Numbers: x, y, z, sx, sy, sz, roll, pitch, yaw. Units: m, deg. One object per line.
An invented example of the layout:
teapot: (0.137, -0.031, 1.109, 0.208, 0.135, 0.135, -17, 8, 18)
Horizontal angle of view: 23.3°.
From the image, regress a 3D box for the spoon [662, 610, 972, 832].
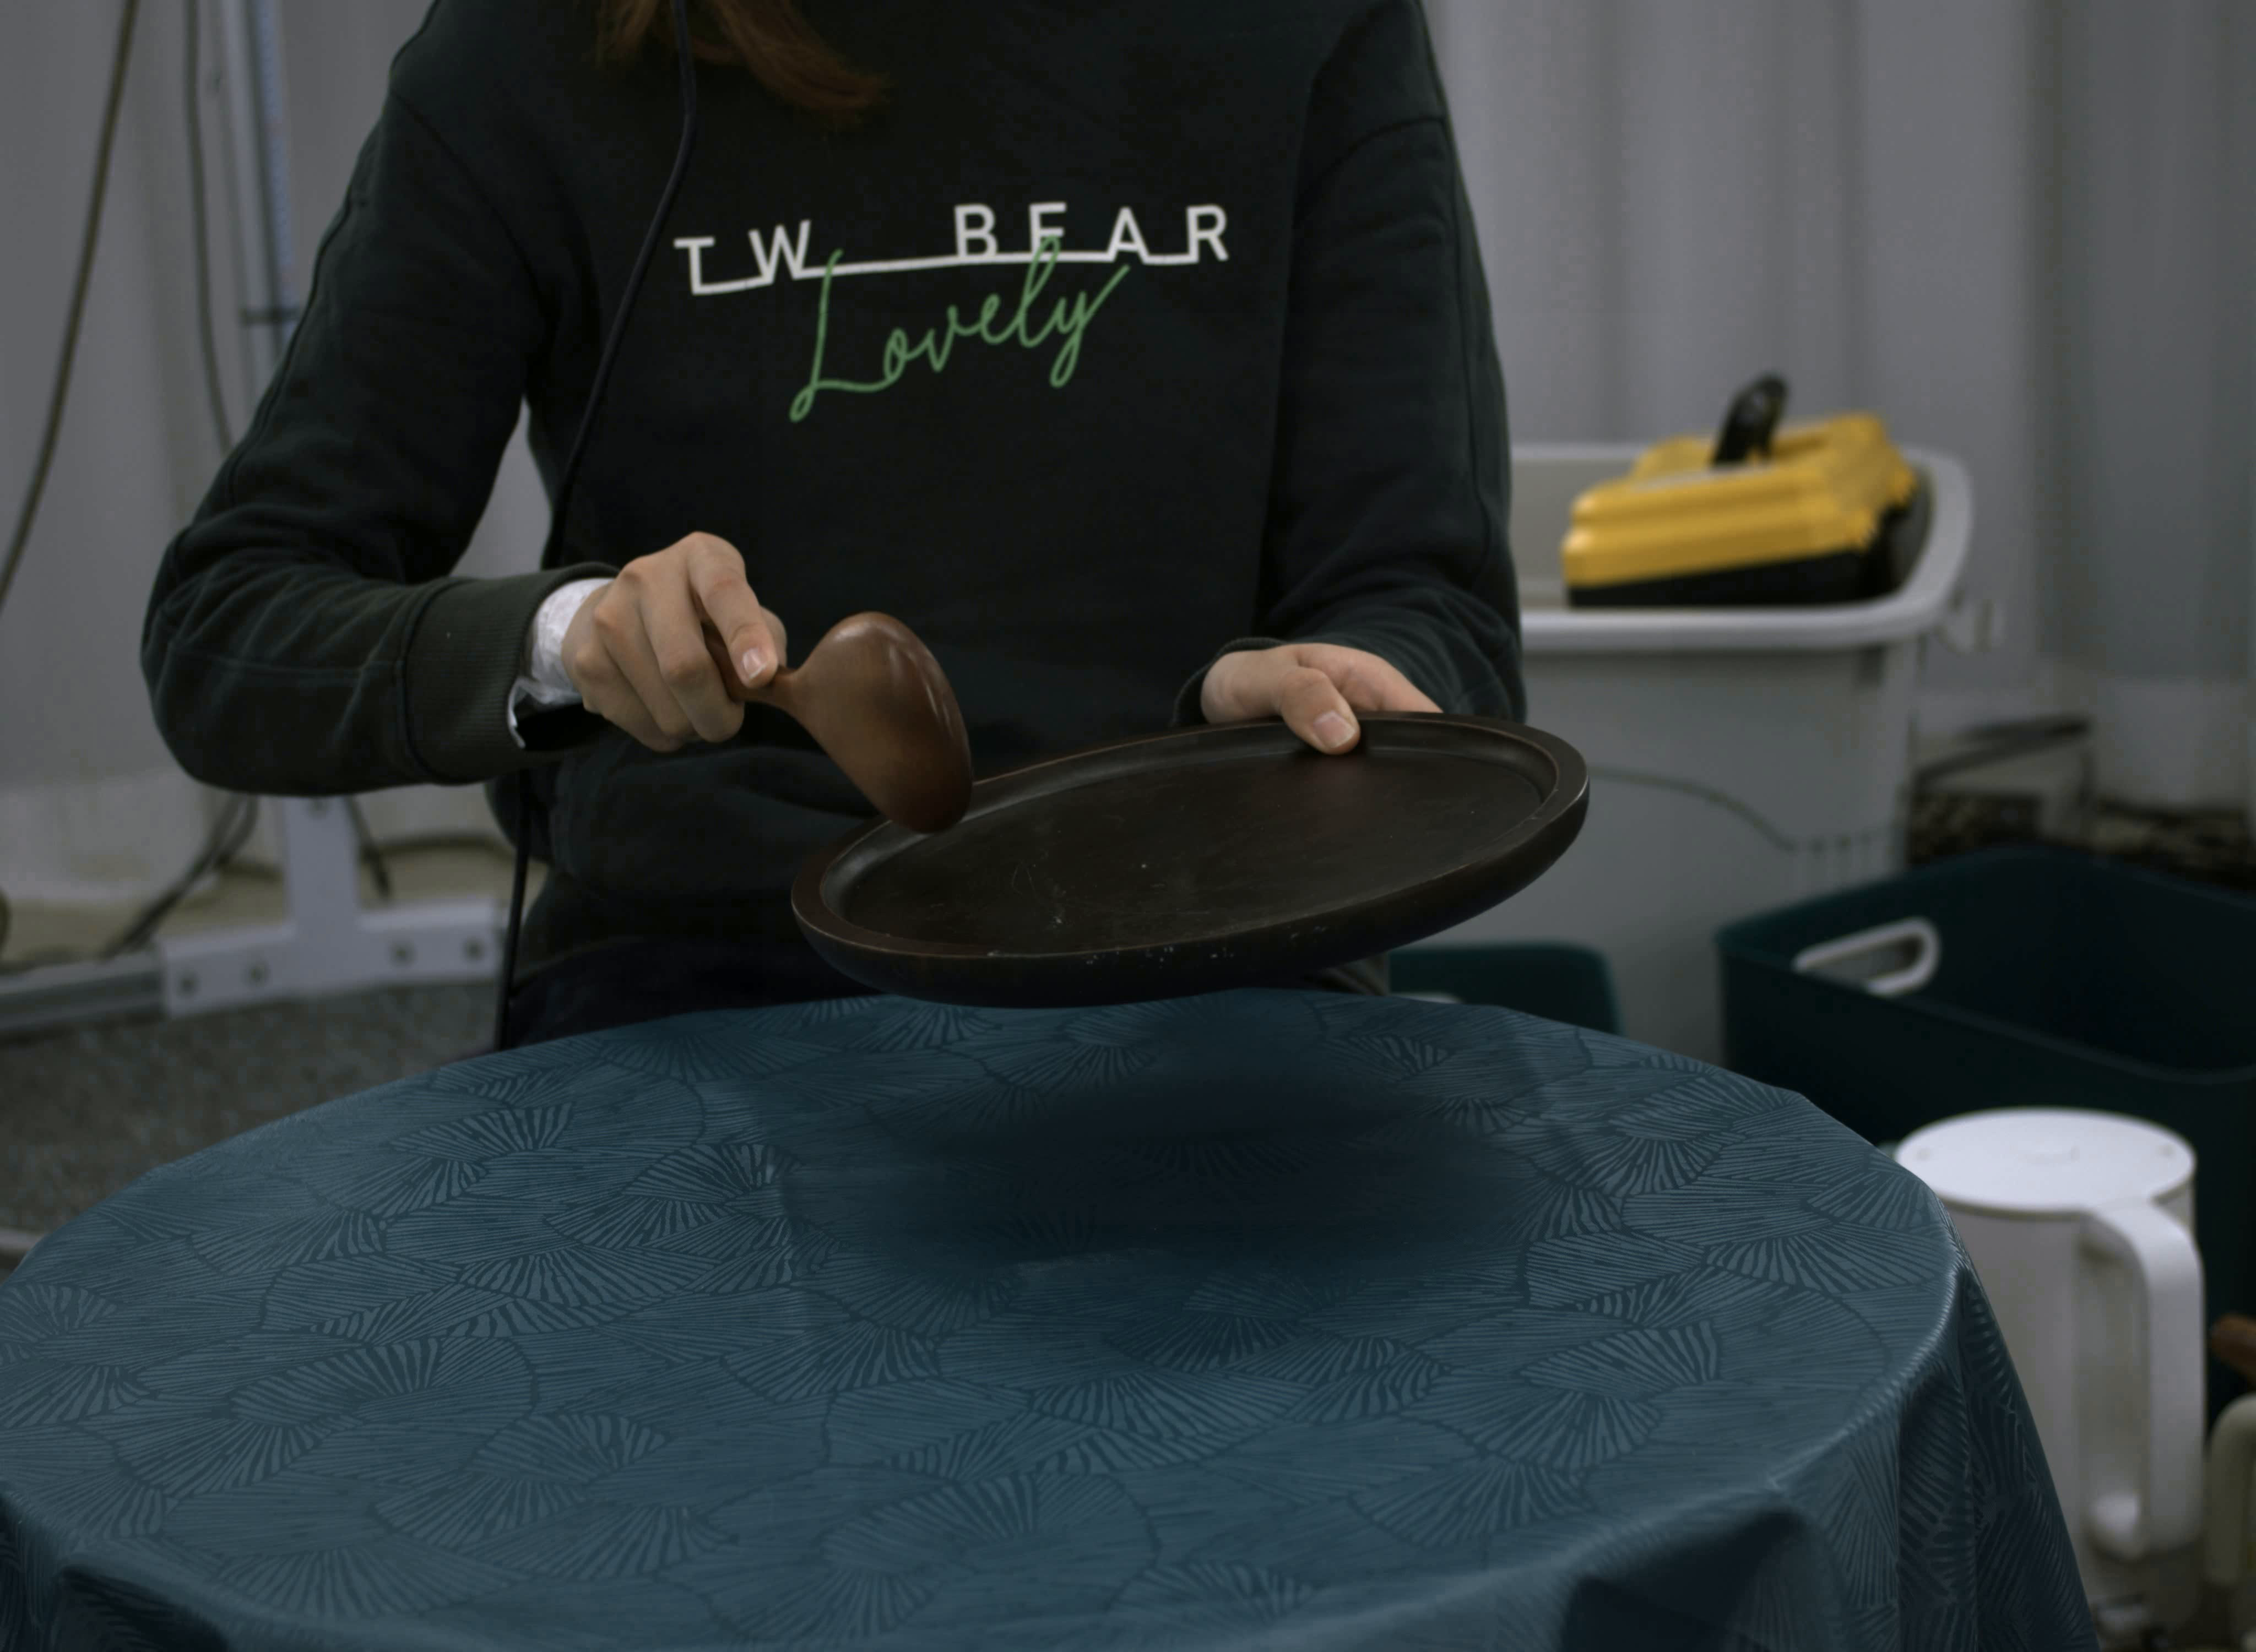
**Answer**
spoon: (-0.106, -0.043, 1.793, 0.017, 0.075, 0.217, -22, 19, -23)

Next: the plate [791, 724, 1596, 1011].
plate: (0.021, 0.010, 1.710, 0.254, 0.029, 0.256, -8, 16, 2)
